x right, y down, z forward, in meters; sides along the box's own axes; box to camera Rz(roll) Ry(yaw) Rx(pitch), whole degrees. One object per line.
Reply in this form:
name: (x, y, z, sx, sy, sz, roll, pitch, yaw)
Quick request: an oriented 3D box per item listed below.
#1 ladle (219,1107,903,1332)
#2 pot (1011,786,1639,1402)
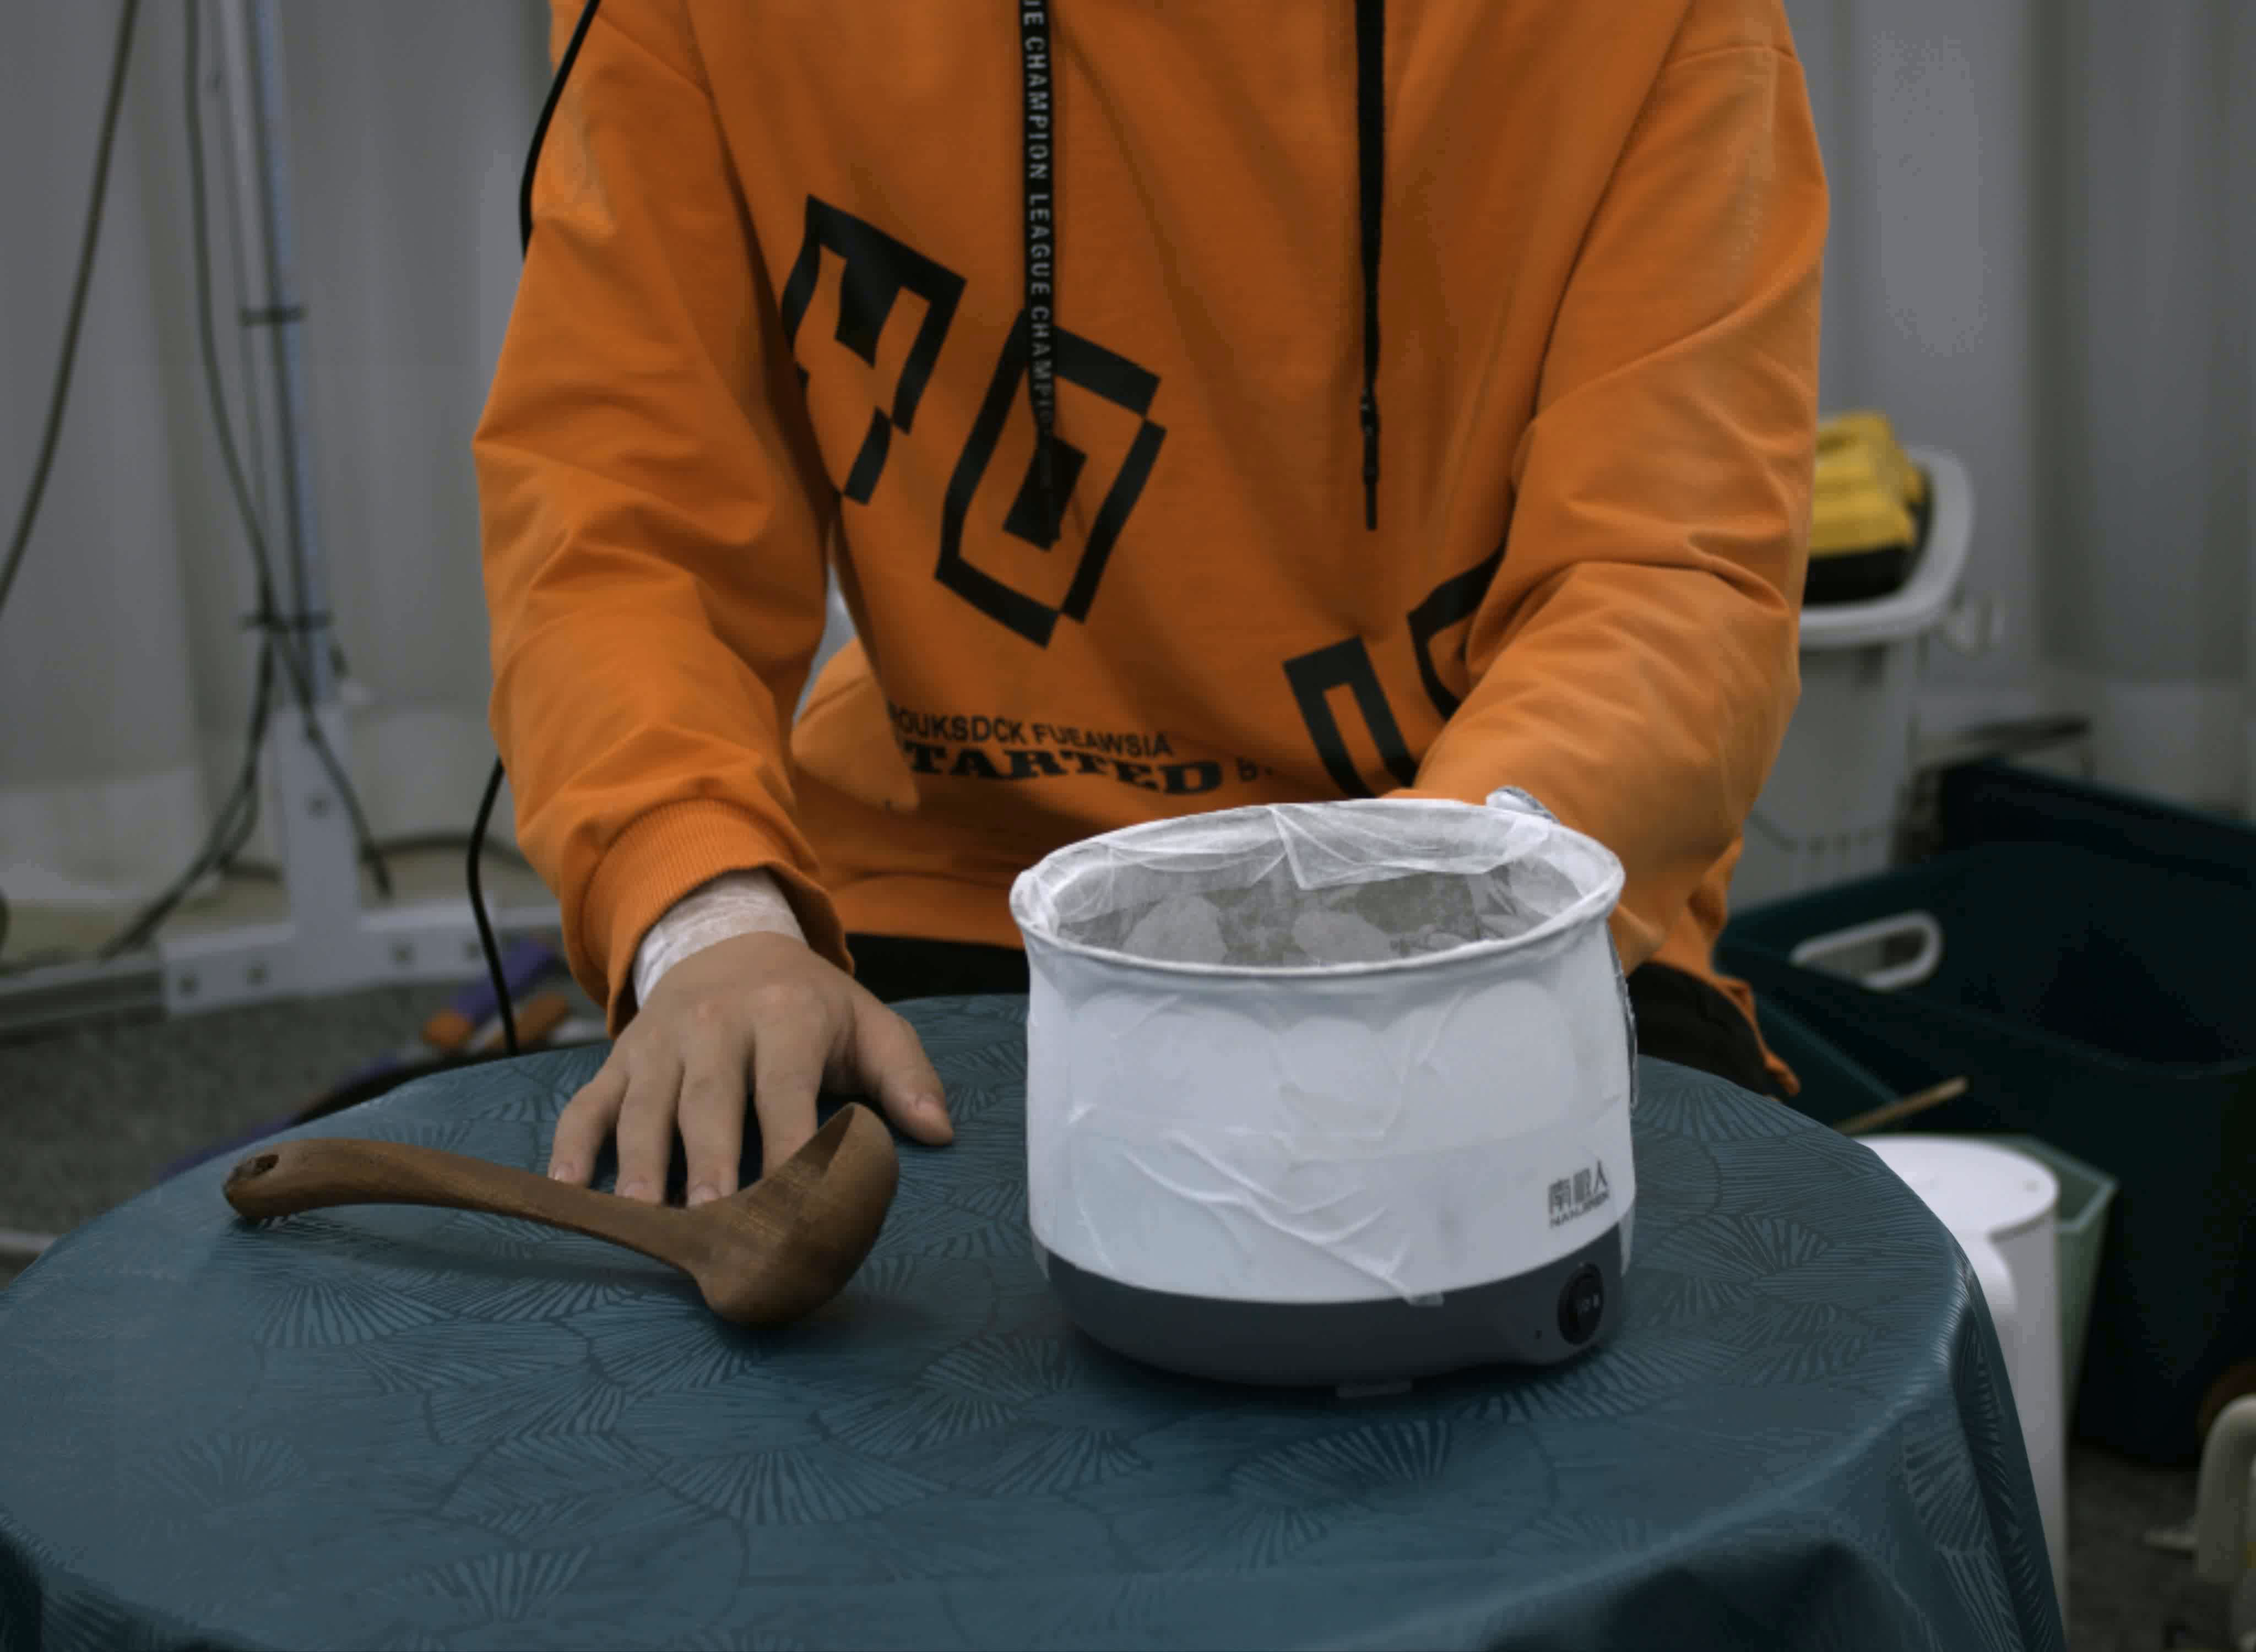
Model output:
ladle: (-0.180, 0.108, 1.662, 0.261, 0.064, 0.077, 7, 42, 30)
pot: (0.074, 0.071, 1.603, 0.179, 0.136, 0.233, 8, 18, 36)
